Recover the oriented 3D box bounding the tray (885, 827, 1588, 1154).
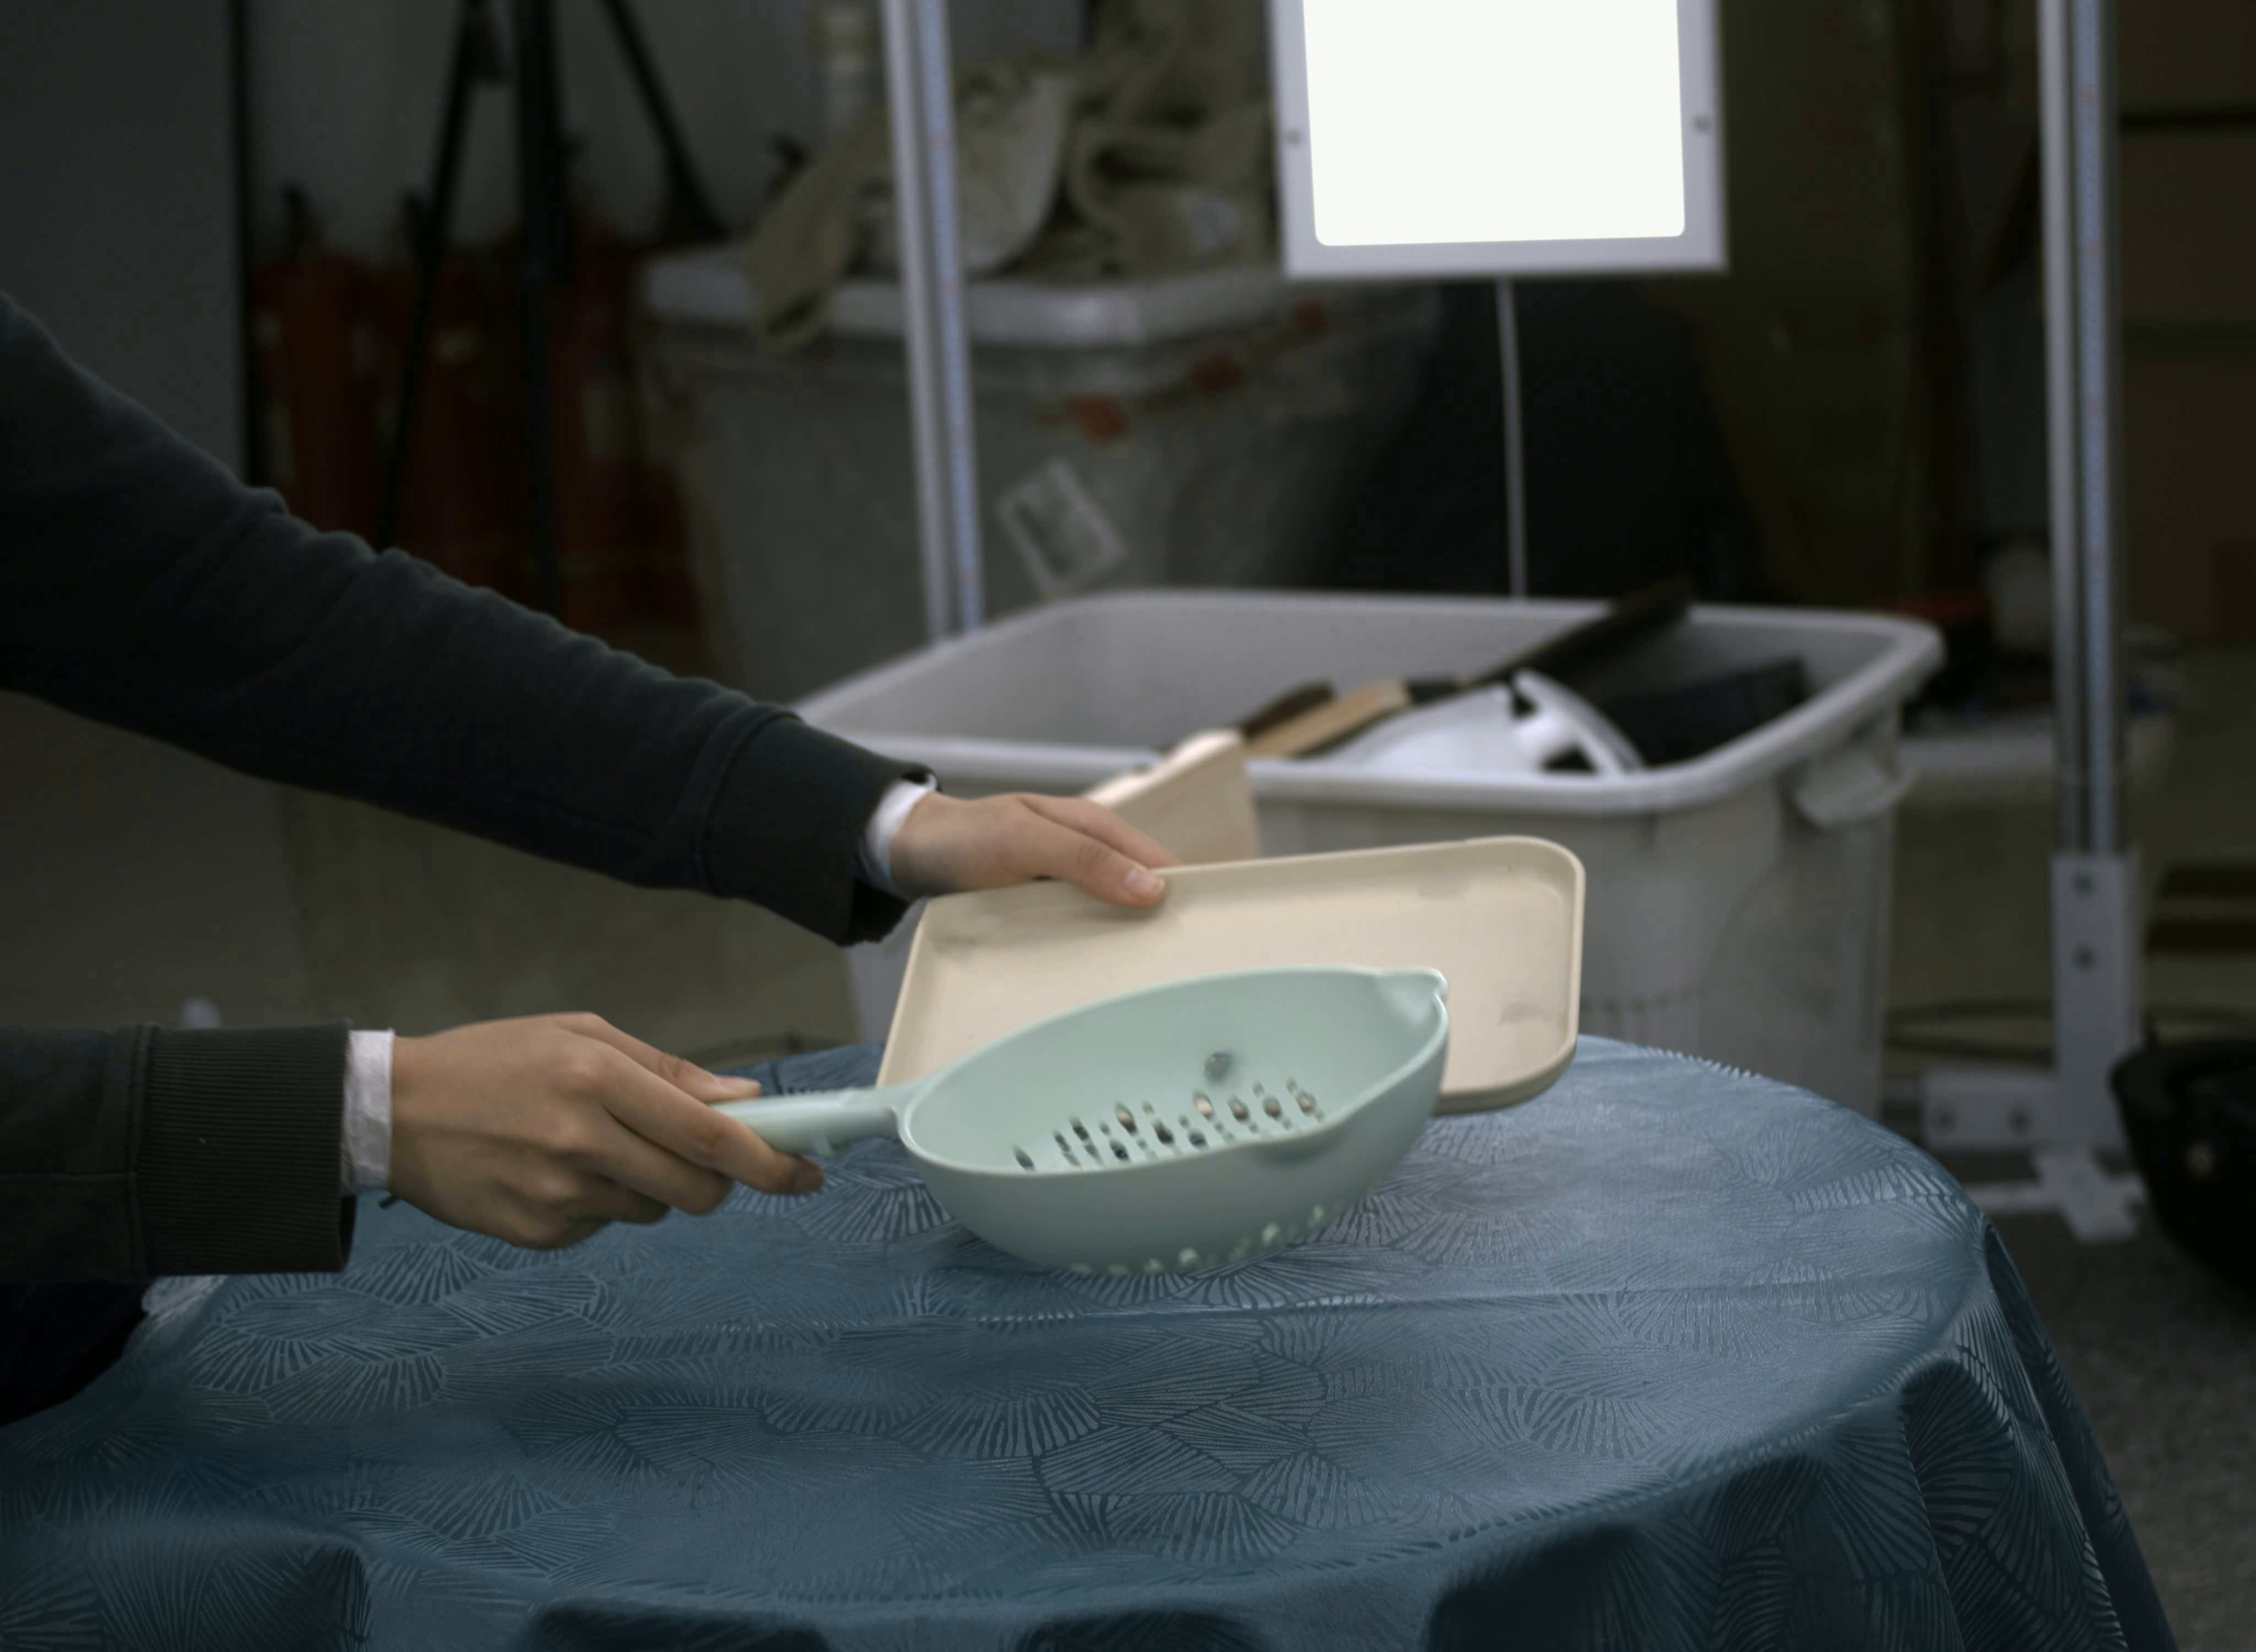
[{"bbox_3d":[0.039,0.057,1.876,0.241,0.017,0.170,-7,28,11],"label":"tray"}]

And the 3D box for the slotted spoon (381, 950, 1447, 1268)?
[{"bbox_3d":[-0.075,0.090,1.705,0.364,0.075,0.166,2,19,21],"label":"slotted spoon"}]
